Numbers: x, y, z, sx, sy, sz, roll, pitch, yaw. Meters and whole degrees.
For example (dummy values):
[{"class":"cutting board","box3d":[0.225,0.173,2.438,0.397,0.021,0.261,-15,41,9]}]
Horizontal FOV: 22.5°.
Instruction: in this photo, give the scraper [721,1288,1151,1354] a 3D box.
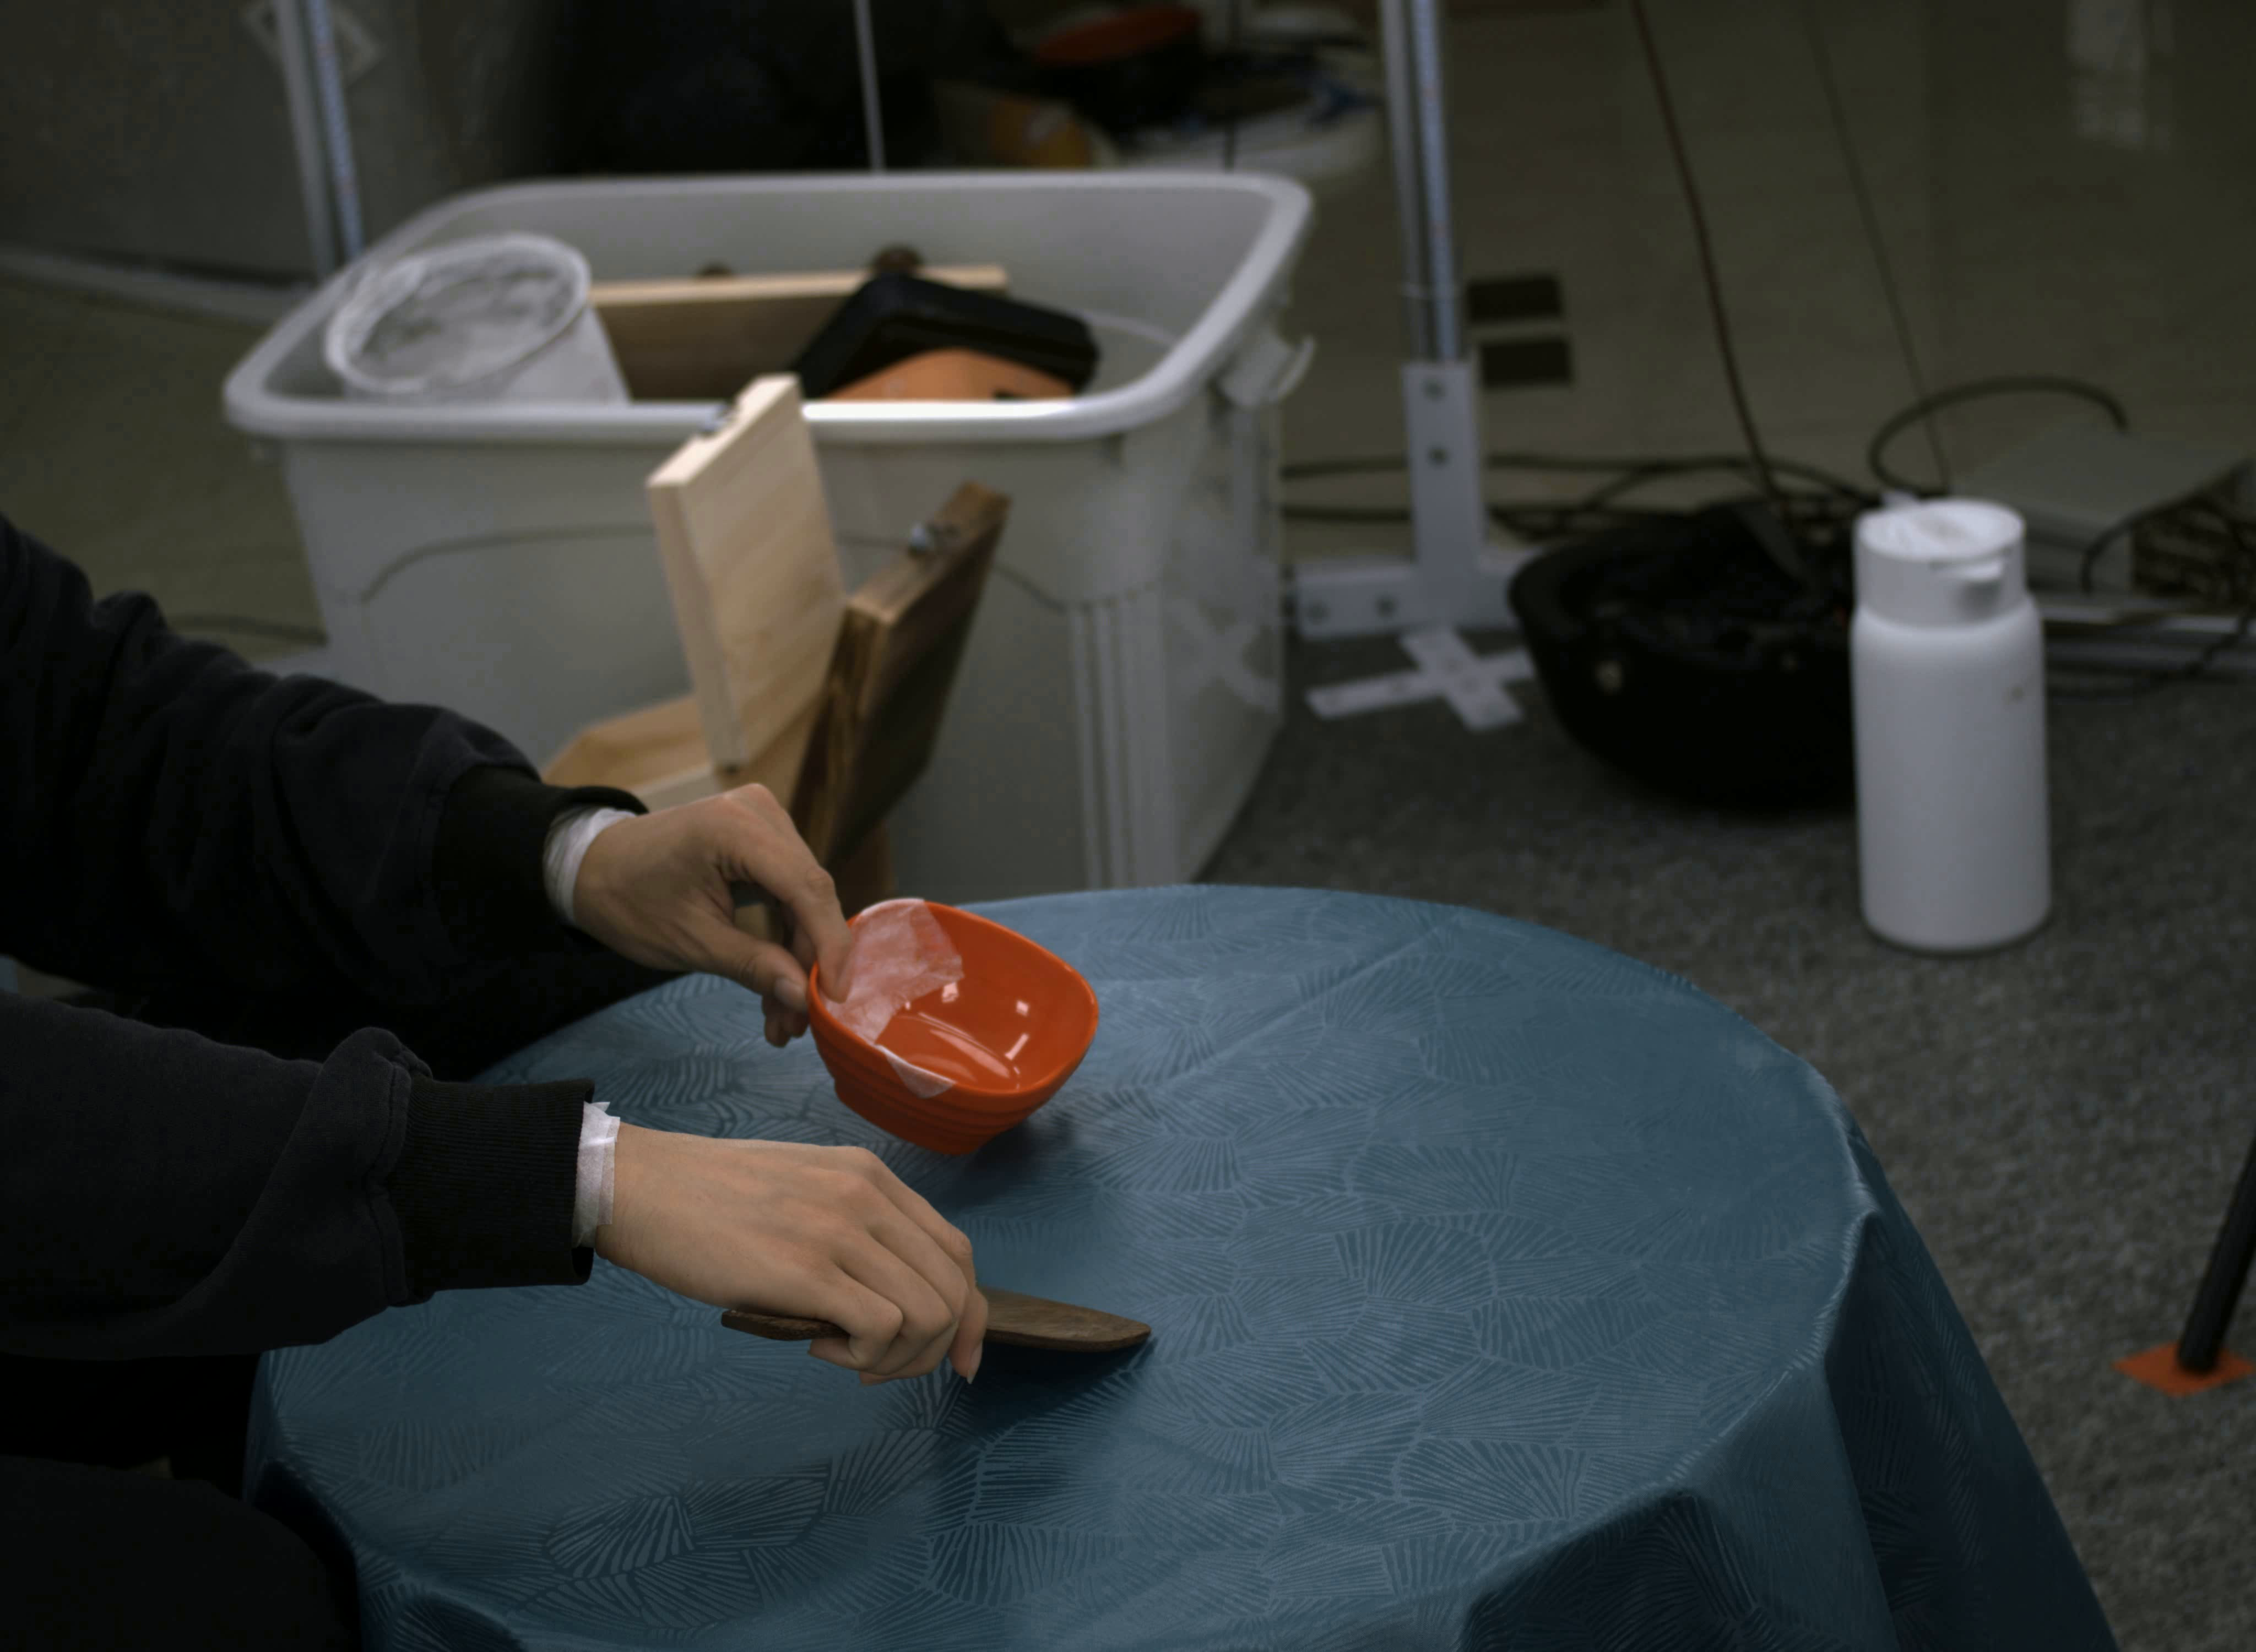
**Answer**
[{"class":"scraper","box3d":[-0.073,0.173,1.983,0.075,0.011,0.212,12,2,32]}]

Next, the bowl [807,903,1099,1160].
[{"class":"bowl","box3d":[-0.073,0.086,2.200,0.119,0.052,0.117,13,35,-10]}]
